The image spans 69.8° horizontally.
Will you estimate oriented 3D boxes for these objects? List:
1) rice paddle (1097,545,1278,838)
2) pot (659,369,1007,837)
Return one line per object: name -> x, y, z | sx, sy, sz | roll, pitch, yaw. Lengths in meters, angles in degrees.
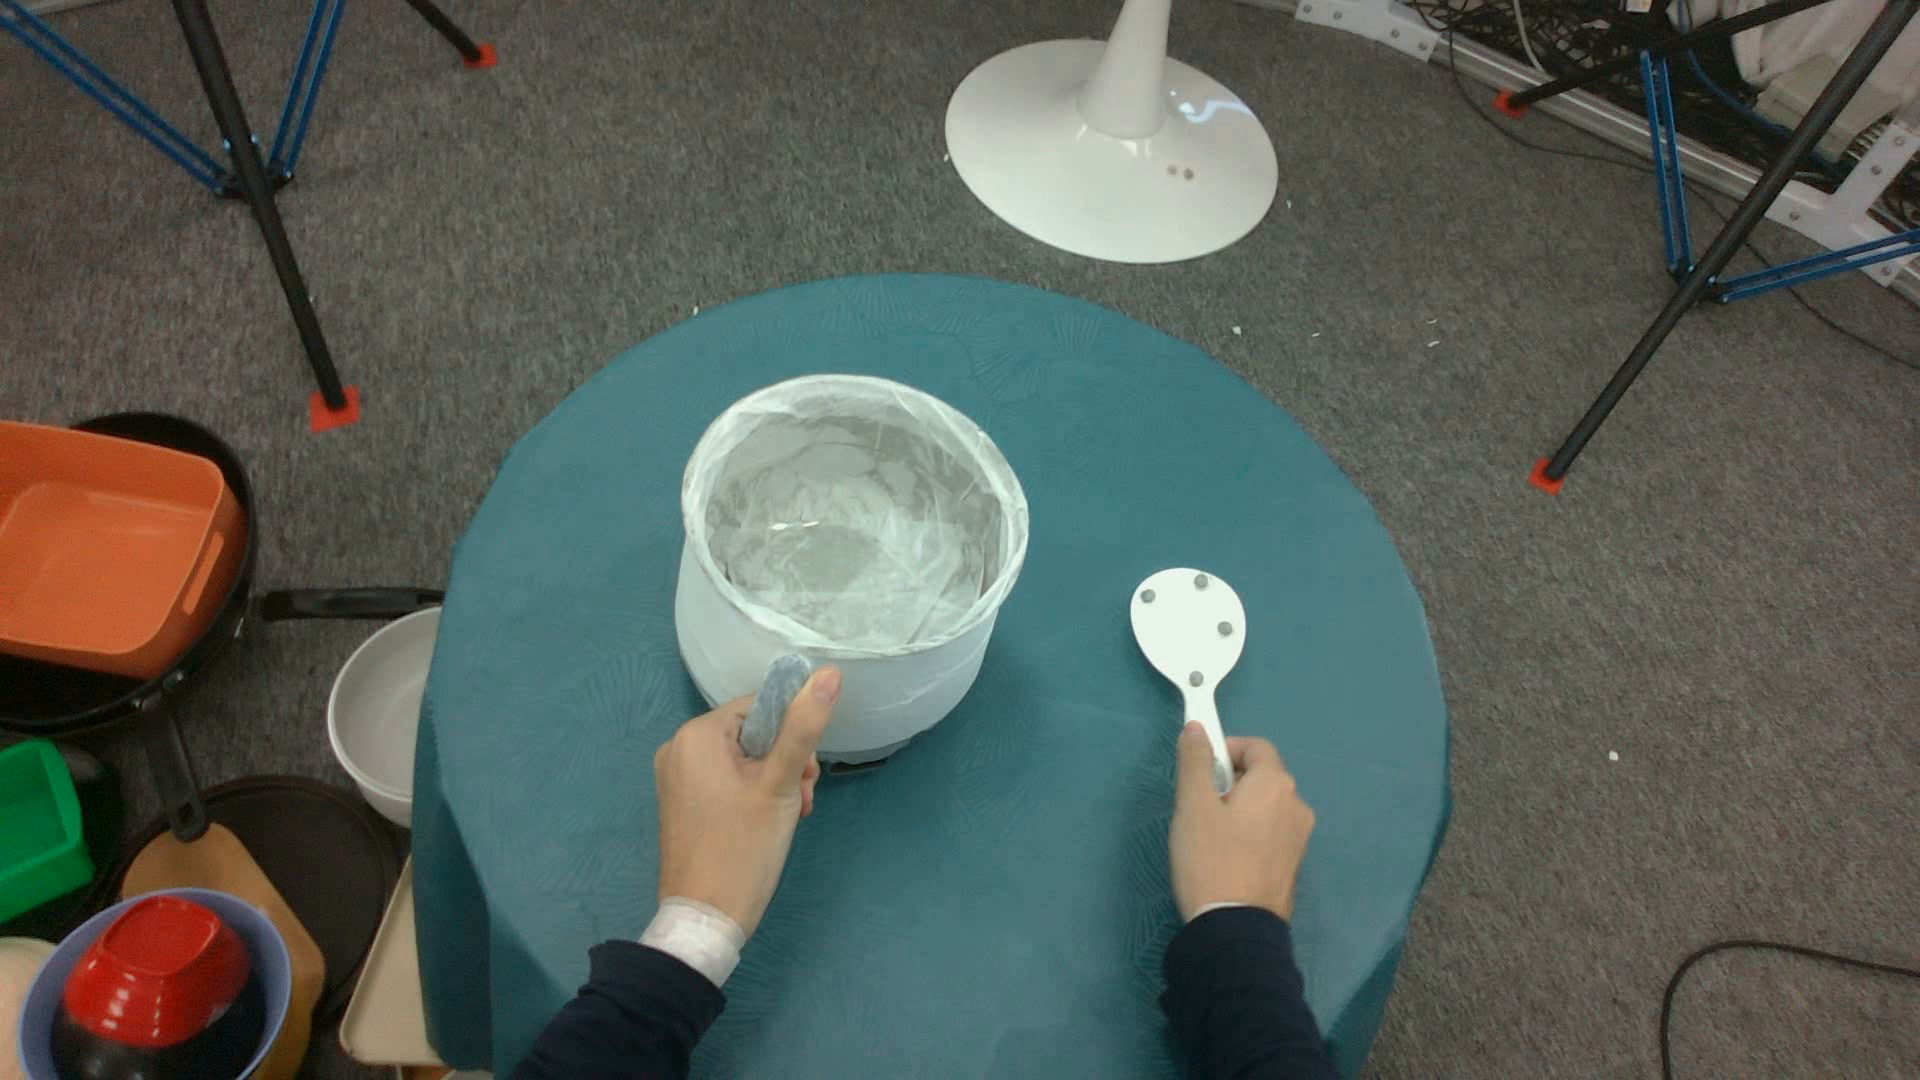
rice paddle -> 0.133, 0.077, 0.805 | 0.069, 0.029, 0.206 | -11, 50, -7
pot -> -0.079, 0.036, 0.731 | 0.179, 0.136, 0.235 | 16, 51, 0
